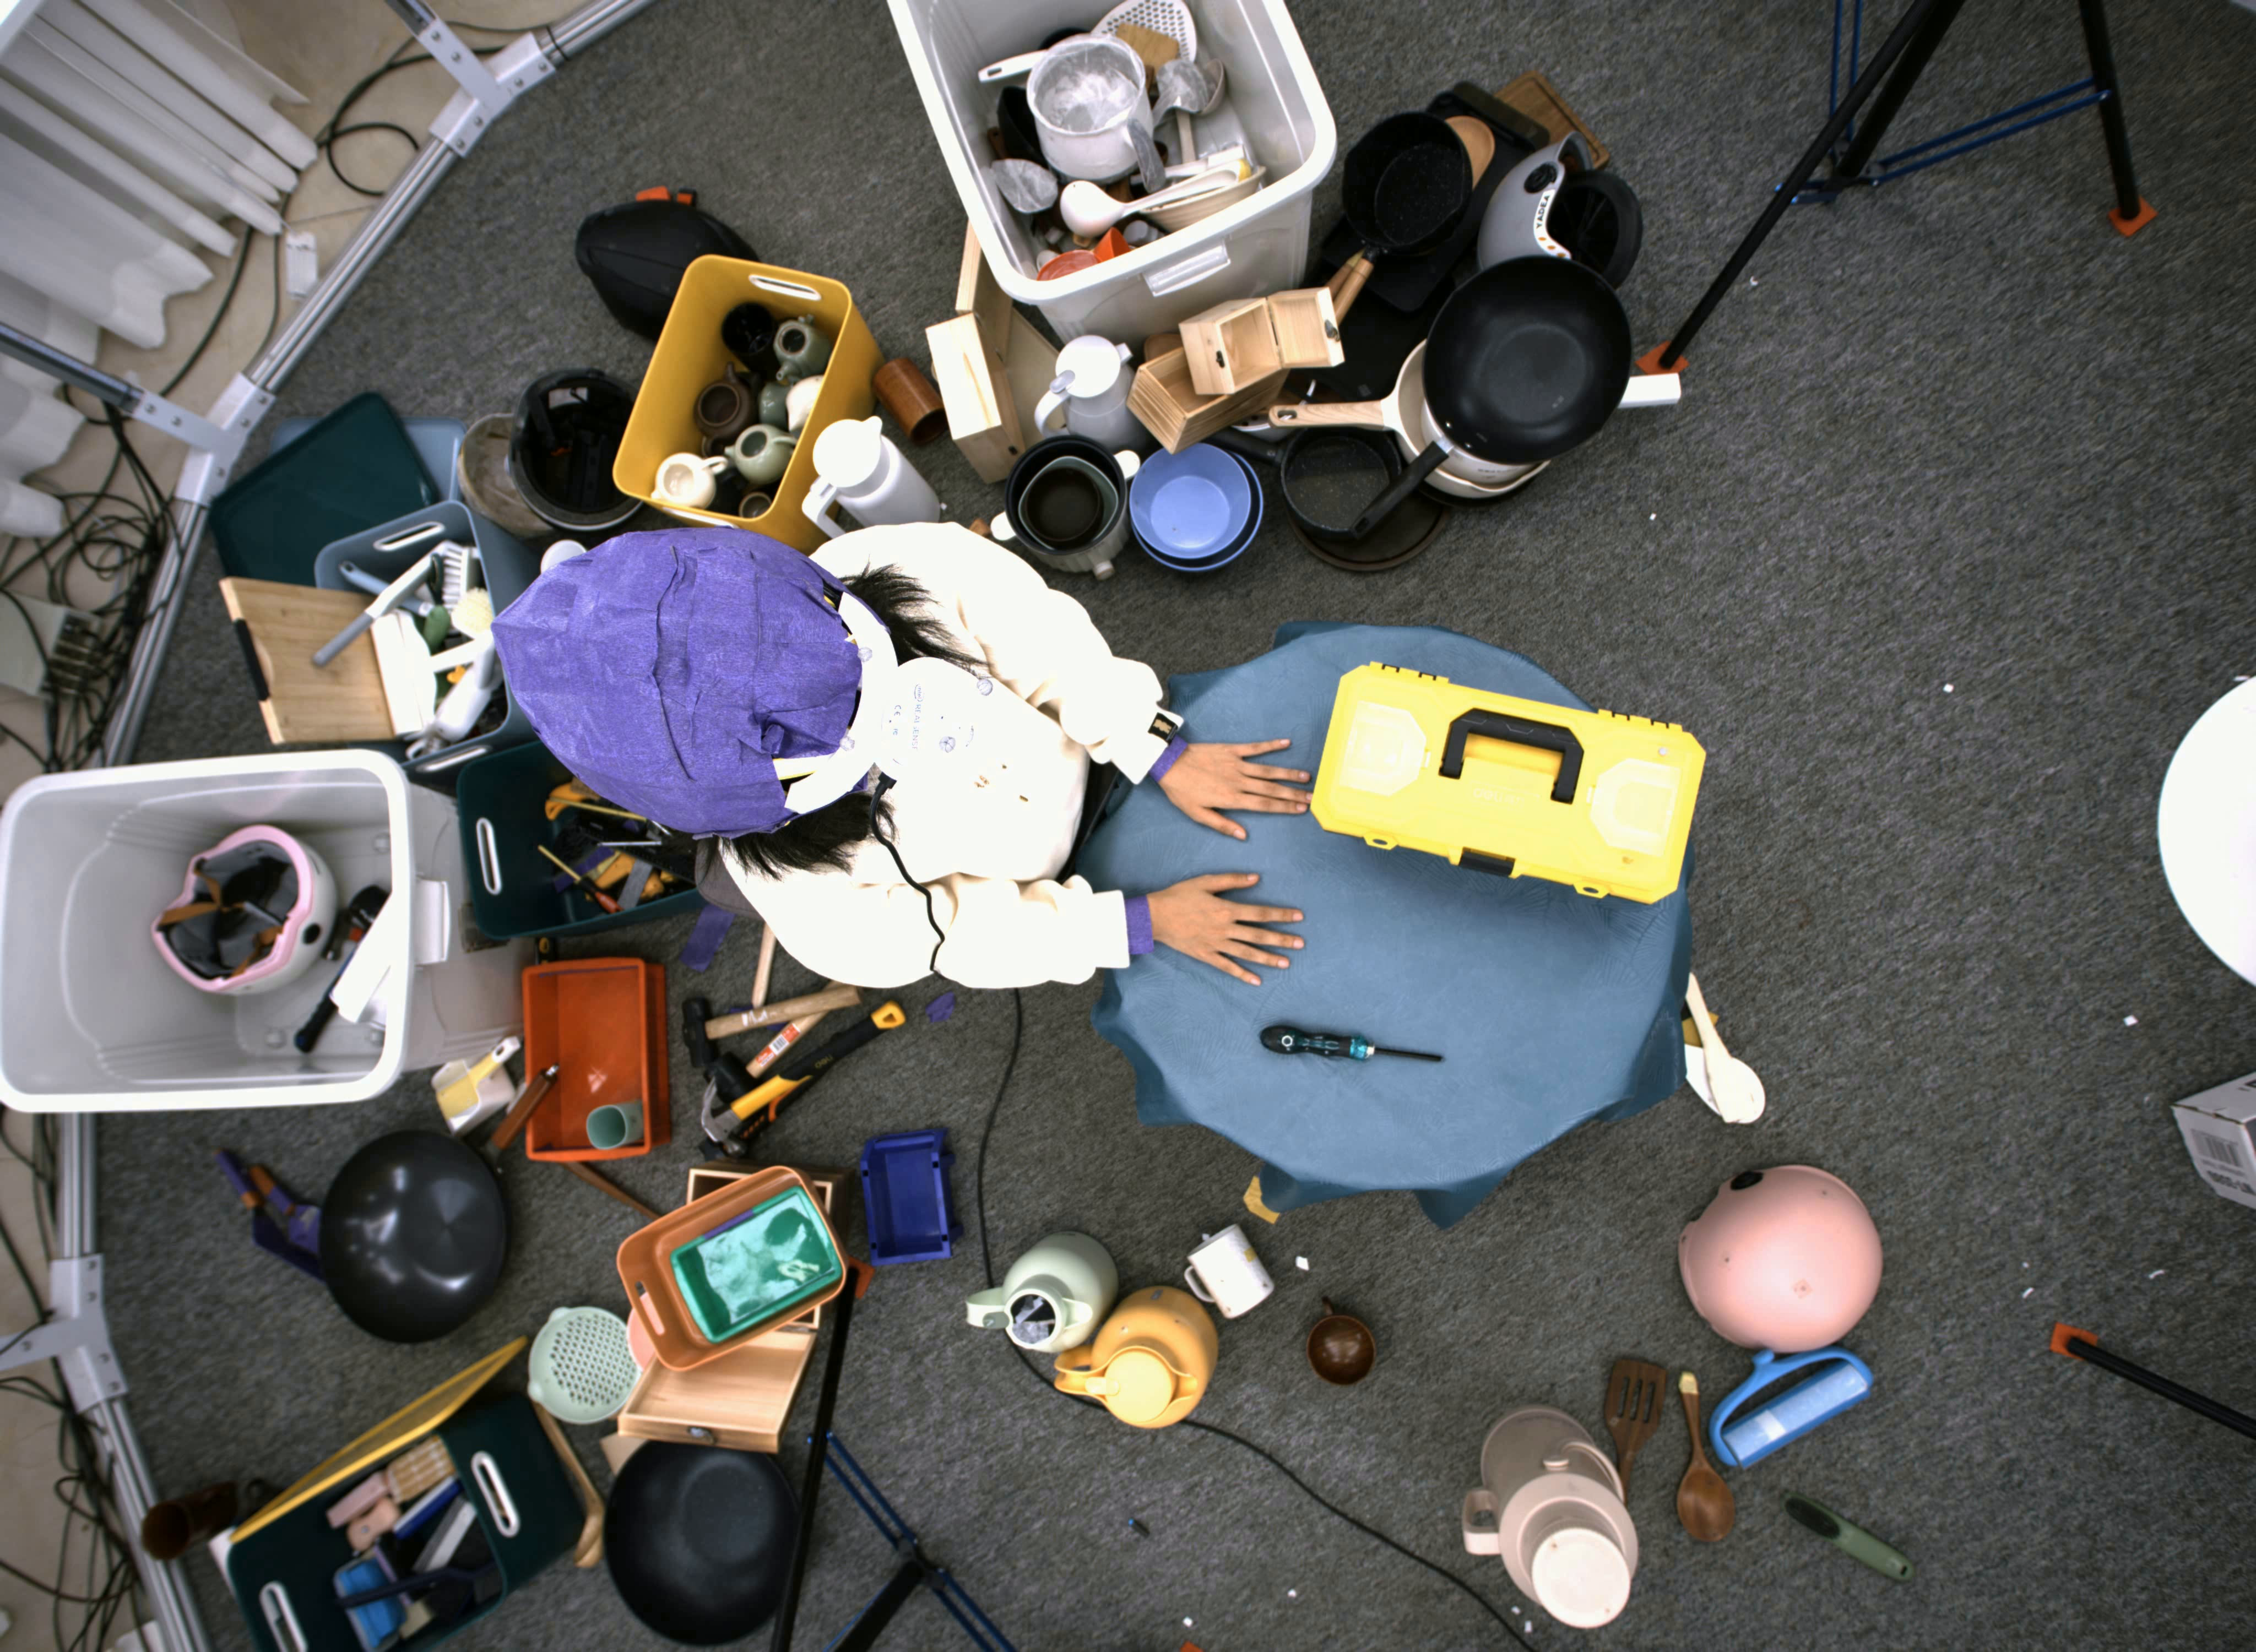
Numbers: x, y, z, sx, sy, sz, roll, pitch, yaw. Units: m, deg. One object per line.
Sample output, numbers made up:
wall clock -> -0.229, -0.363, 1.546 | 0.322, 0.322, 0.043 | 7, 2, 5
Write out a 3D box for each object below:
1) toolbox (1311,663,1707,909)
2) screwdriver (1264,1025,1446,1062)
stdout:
toolbox -> 0.368, -0.039, 1.360 | 0.352, 0.173, 0.181 | 14, 88, 11
screwdriver -> 0.237, 0.231, 1.447 | 0.190, 0.034, 0.033 | 6, 86, 6
